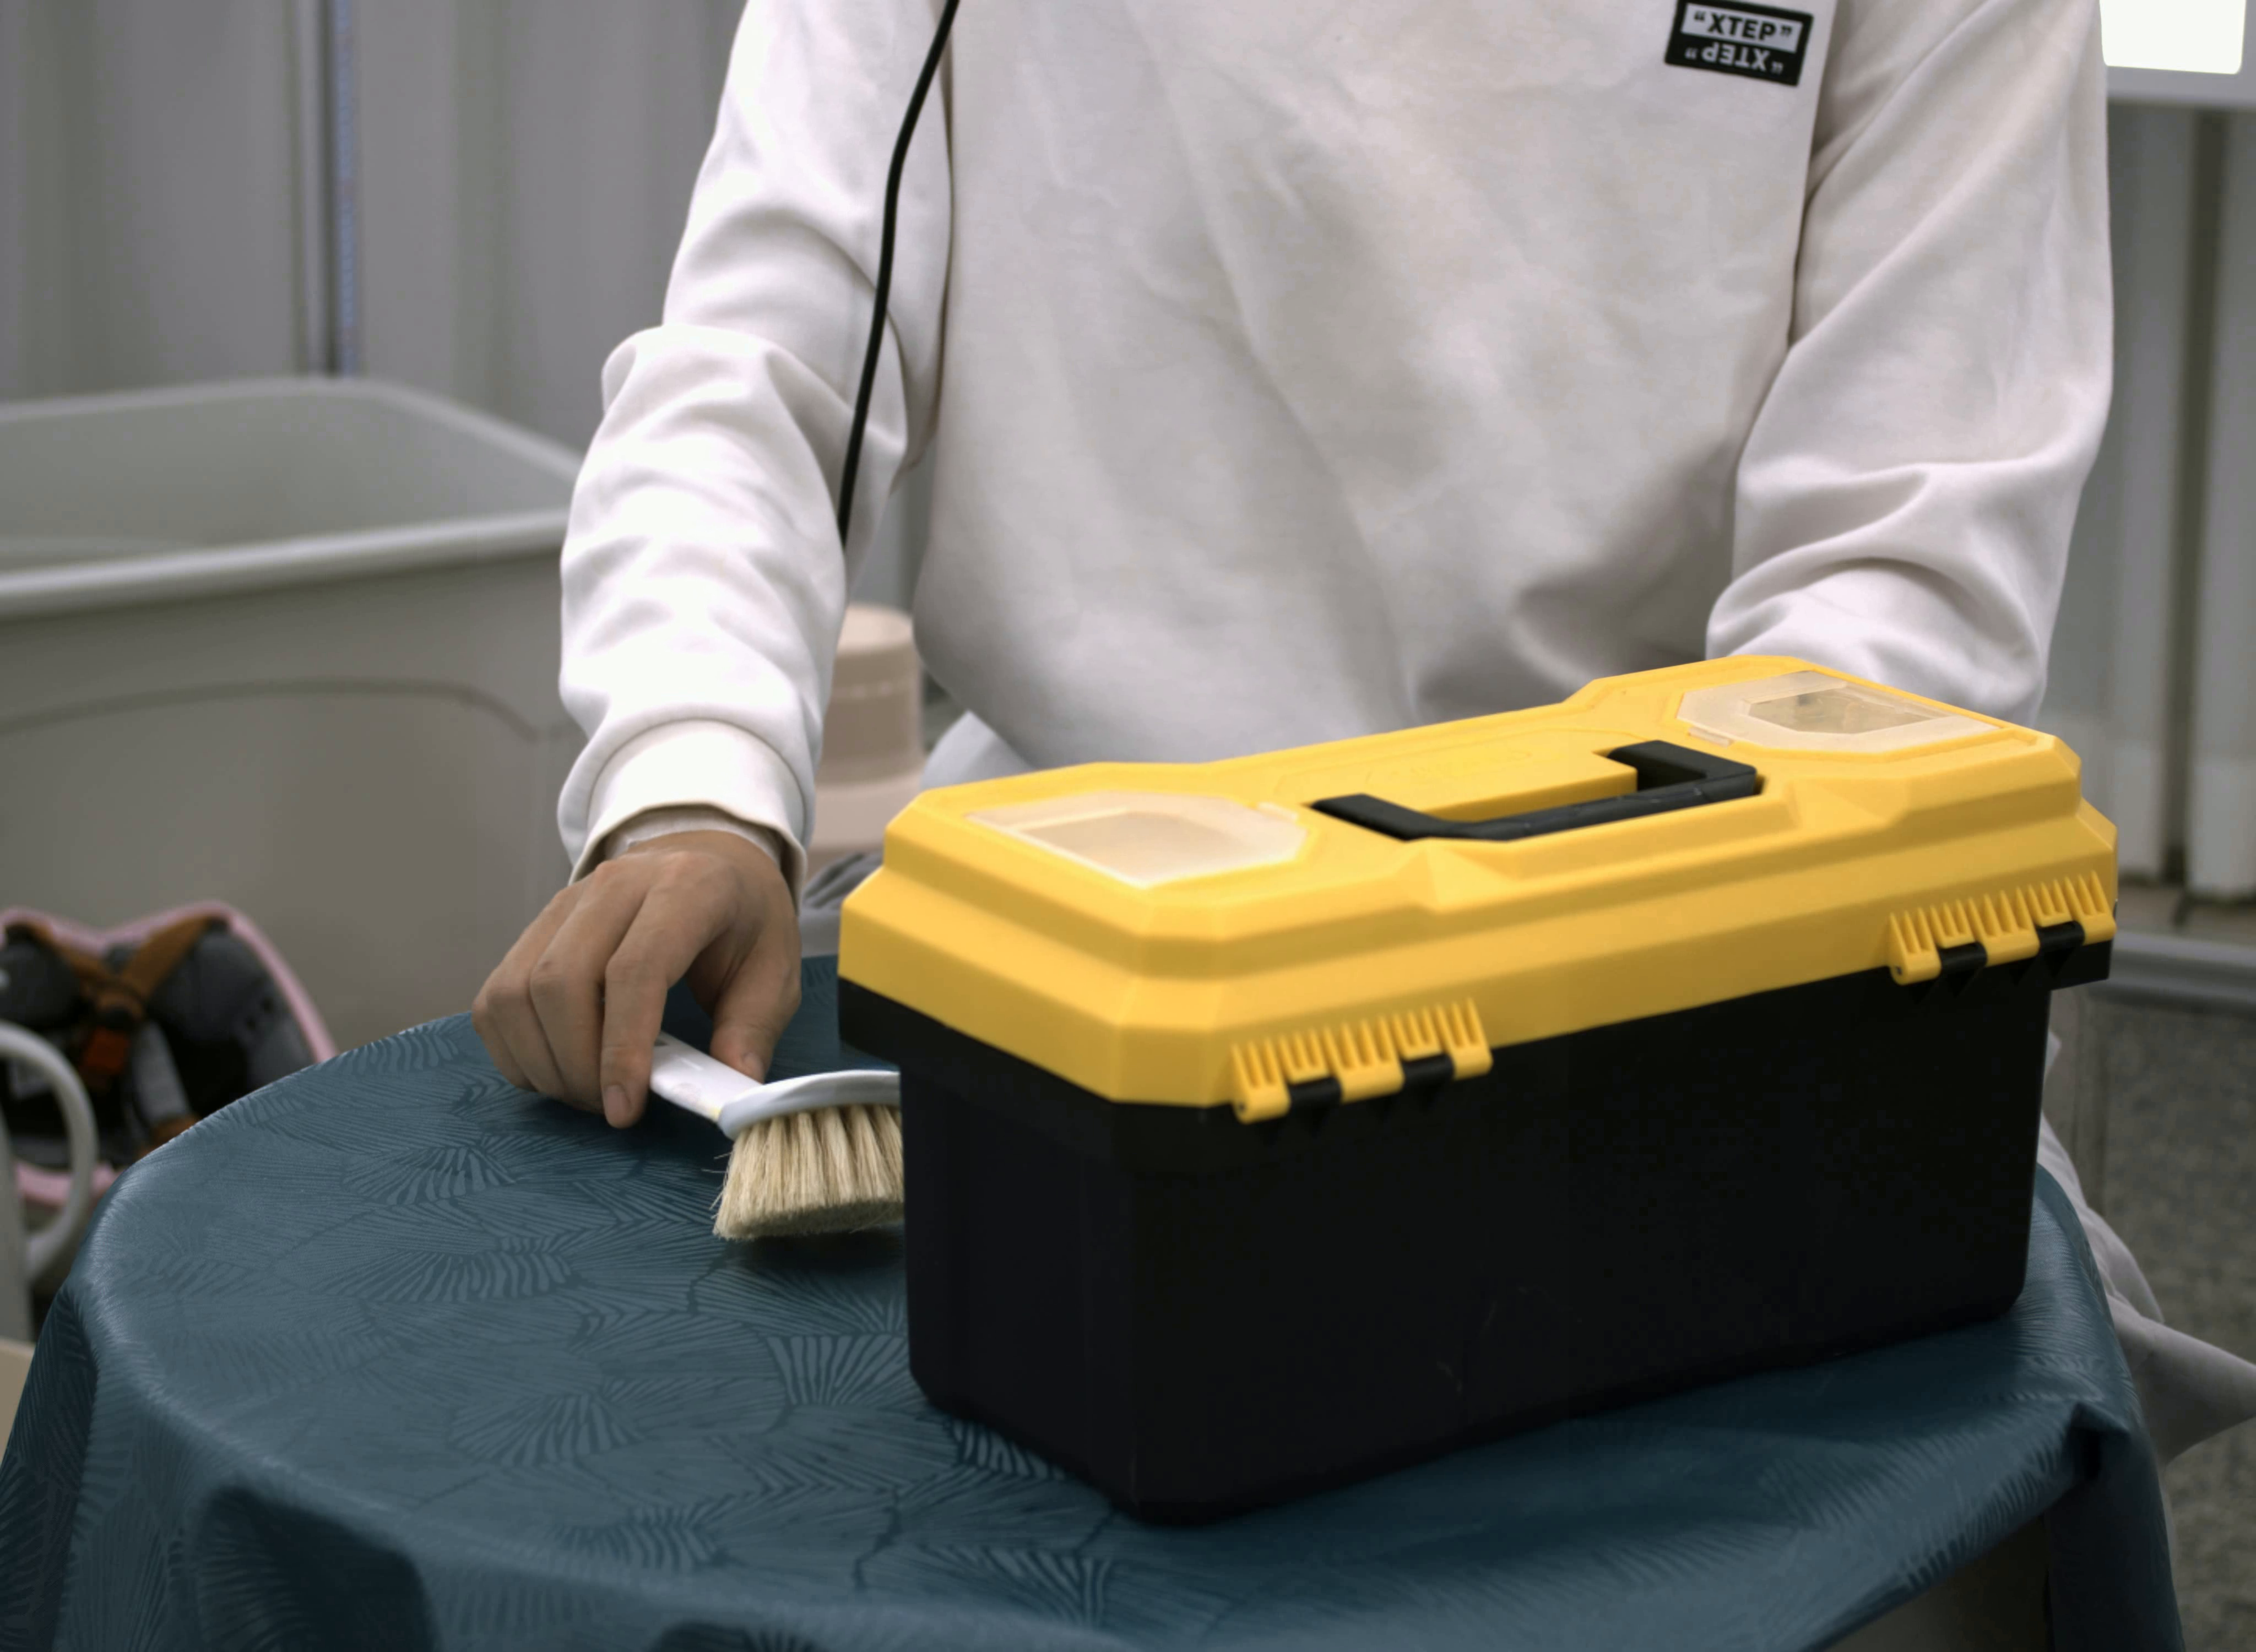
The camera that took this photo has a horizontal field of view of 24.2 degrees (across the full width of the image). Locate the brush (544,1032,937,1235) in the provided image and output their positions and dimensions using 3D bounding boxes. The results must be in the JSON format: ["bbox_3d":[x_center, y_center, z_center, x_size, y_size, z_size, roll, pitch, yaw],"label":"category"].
[{"bbox_3d":[-0.130,0.095,1.659,0.069,0.056,0.264,13,-7,-26],"label":"brush"}]

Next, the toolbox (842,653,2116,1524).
[{"bbox_3d":[0.101,0.066,1.478,0.353,0.174,0.179,-9,20,-34],"label":"toolbox"}]
